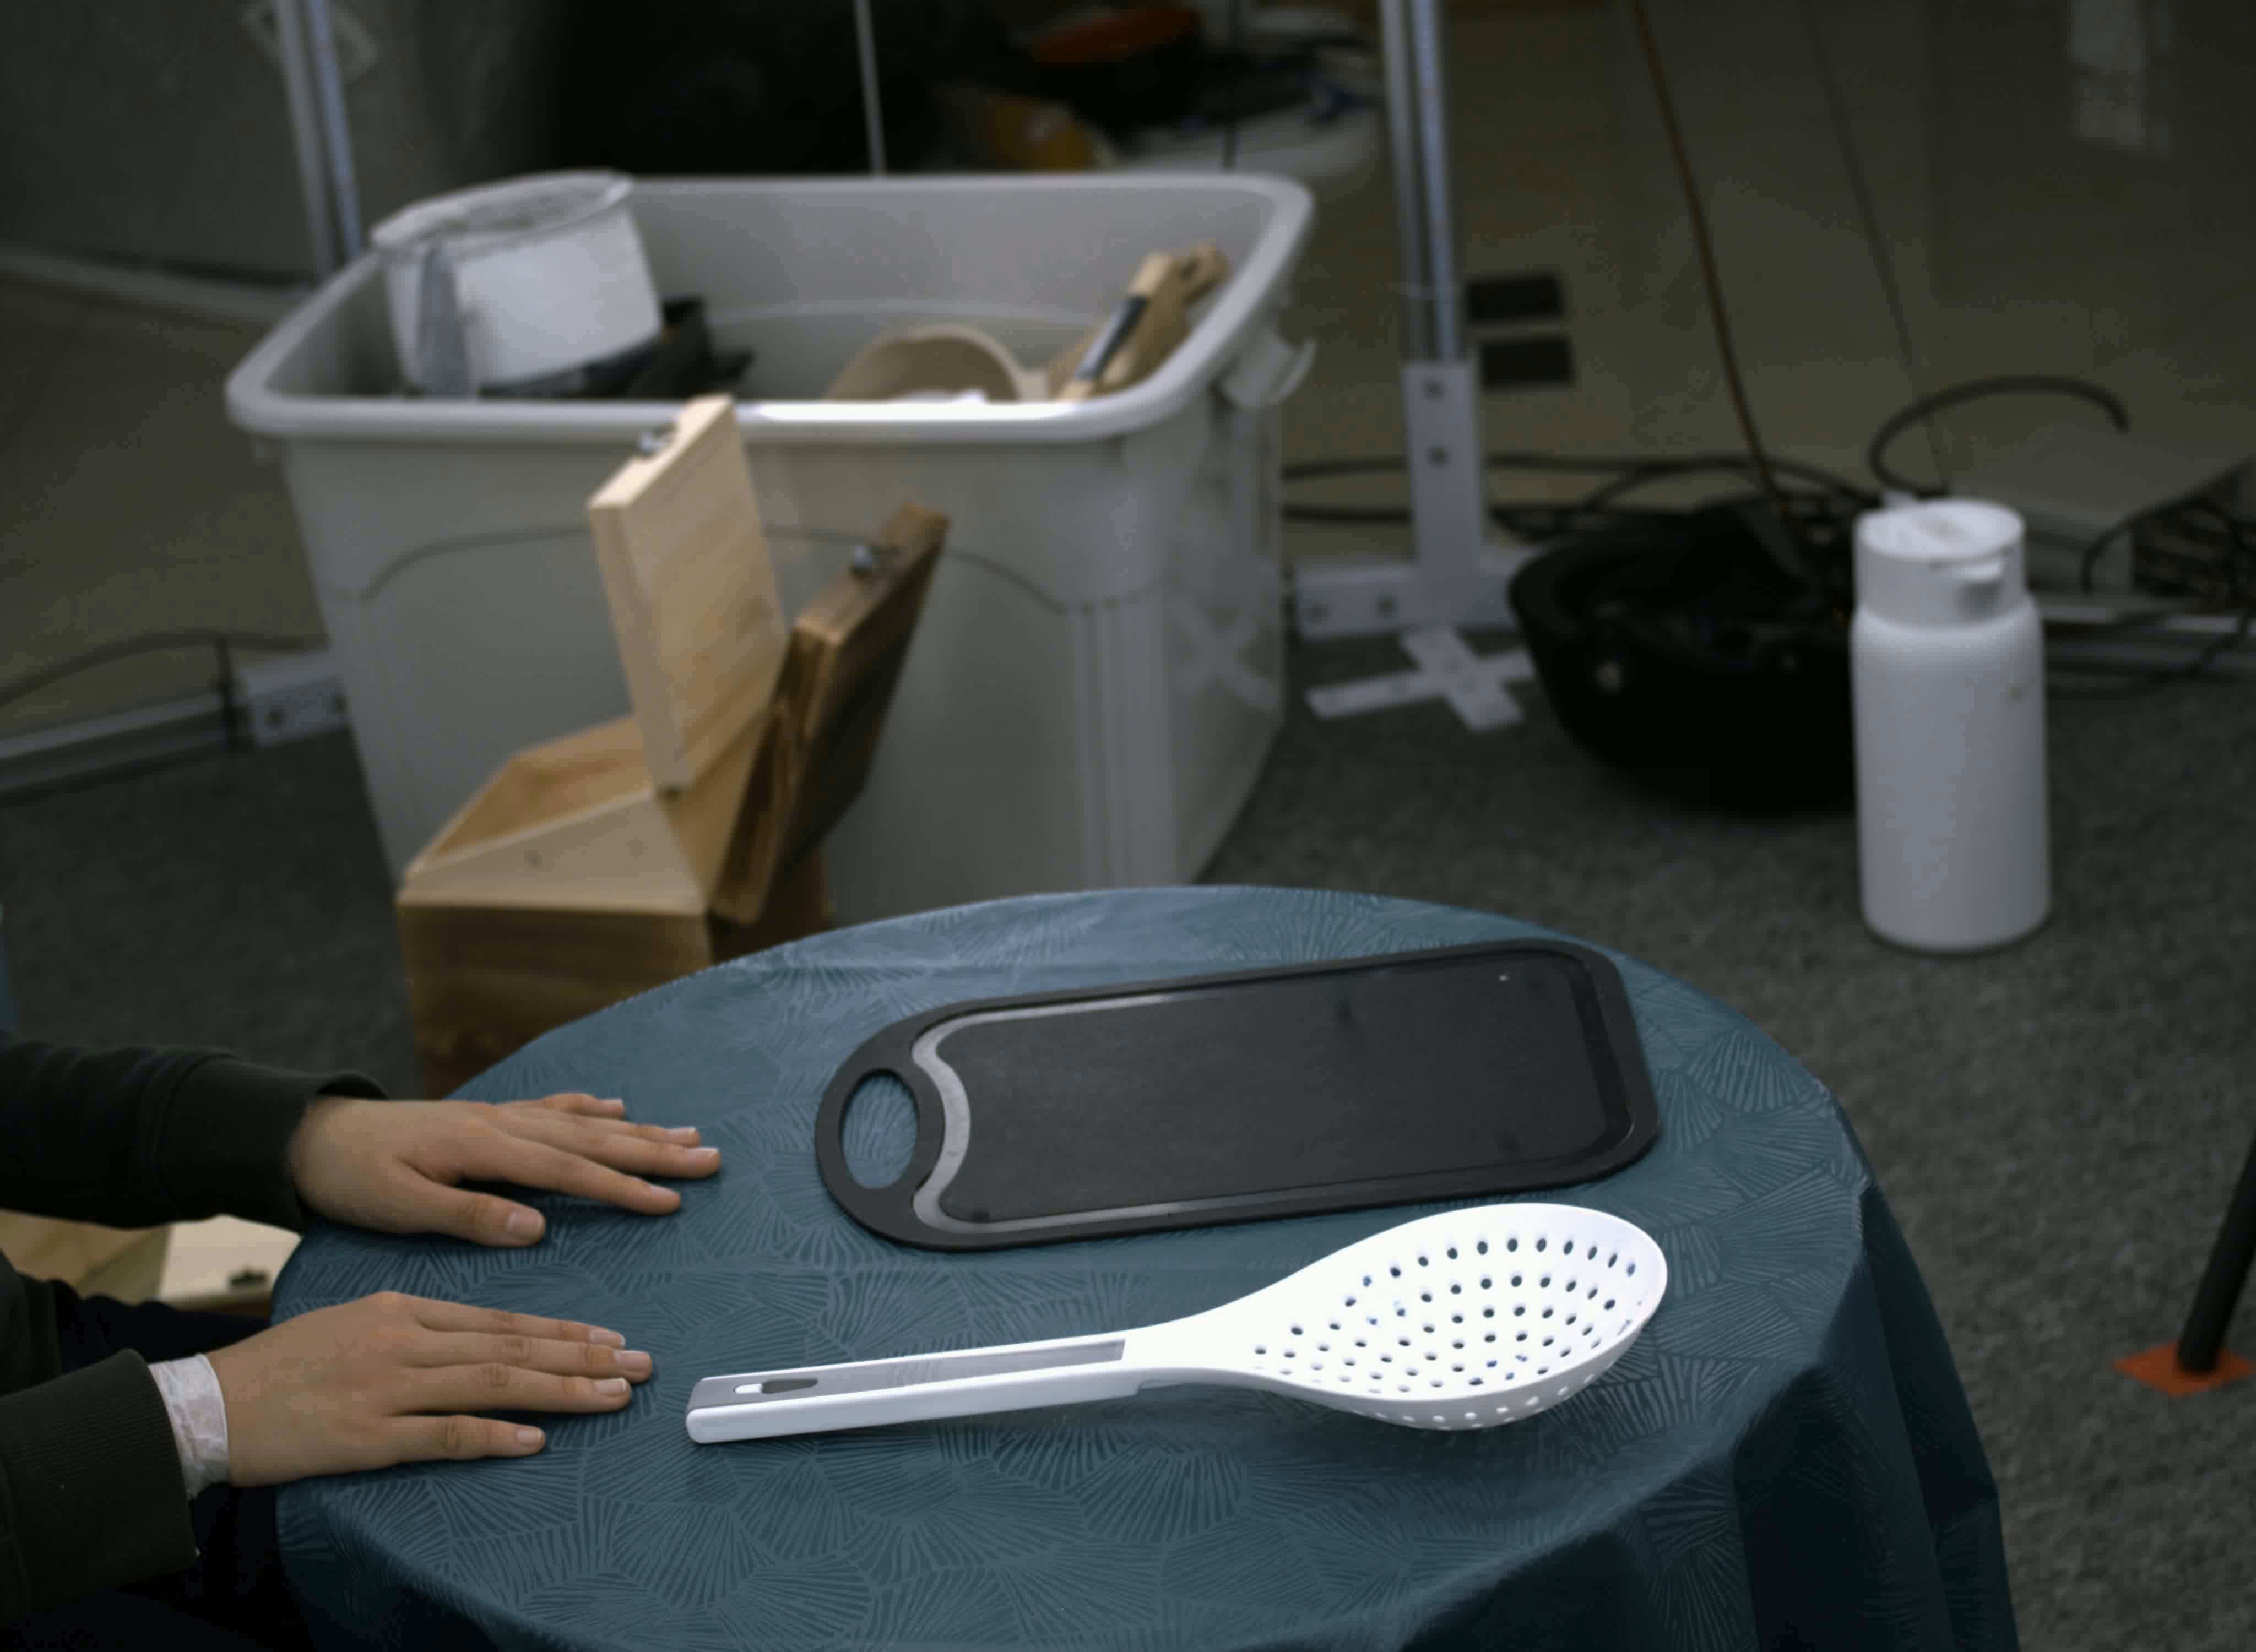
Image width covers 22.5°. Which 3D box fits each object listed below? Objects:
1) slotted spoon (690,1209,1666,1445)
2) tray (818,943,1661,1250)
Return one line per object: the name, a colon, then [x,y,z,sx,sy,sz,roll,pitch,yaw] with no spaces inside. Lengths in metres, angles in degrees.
slotted spoon: [0.016,0.186,1.993,0.349,0.046,0.134,-4,23,8]
tray: [0.040,0.103,2.212,0.325,0.010,0.208,-6,24,1]
